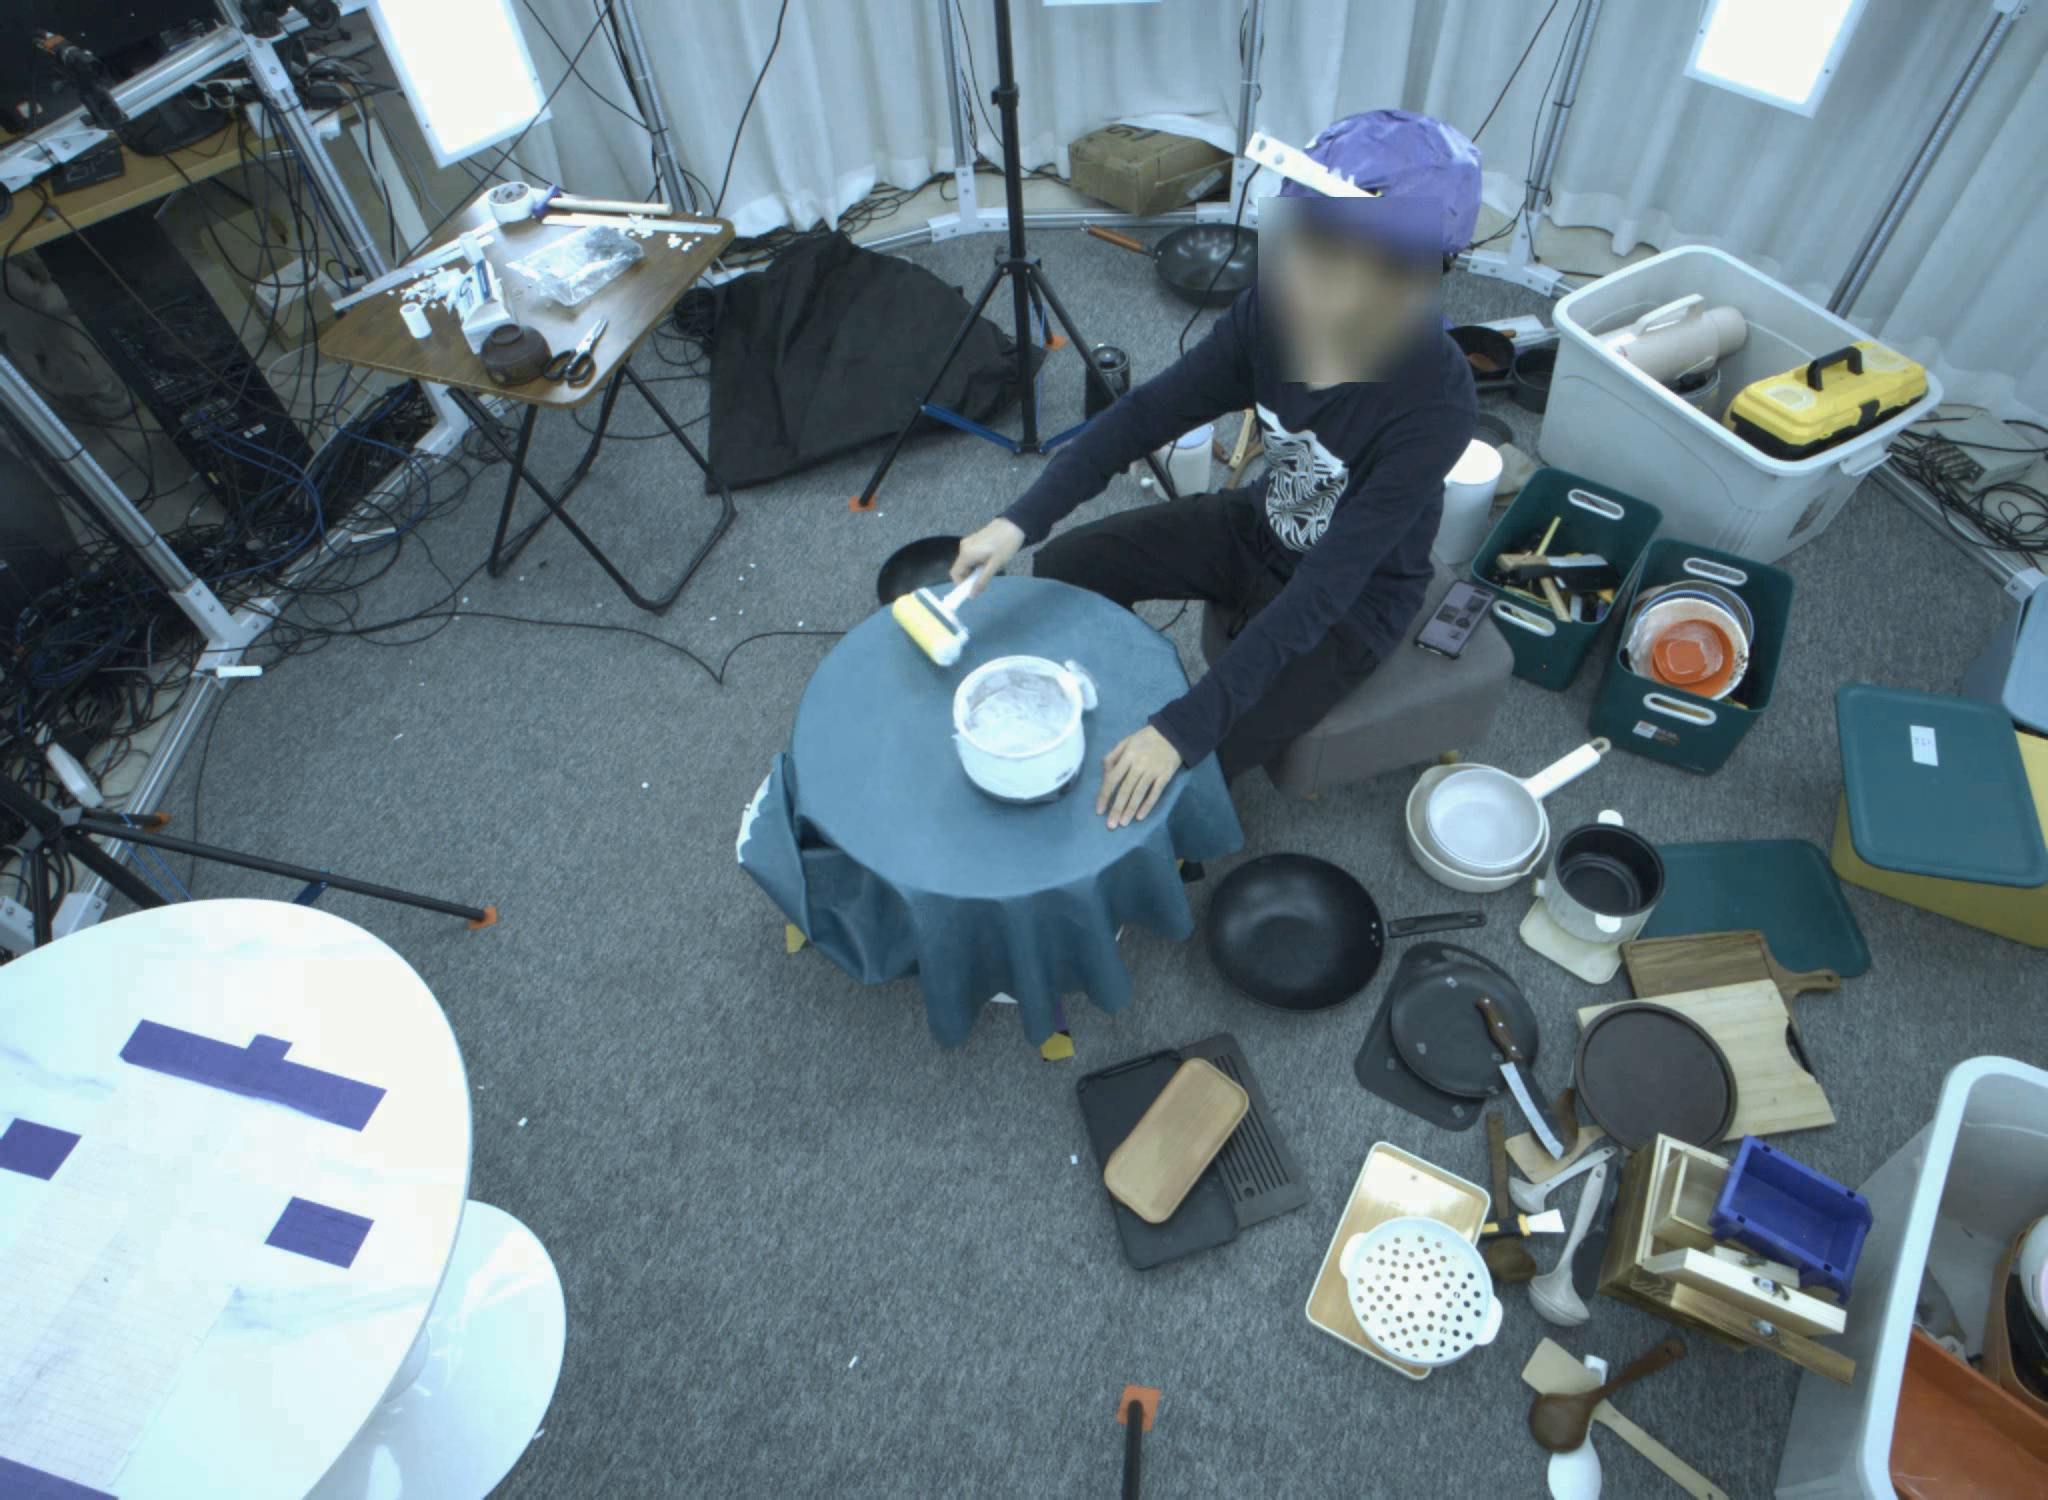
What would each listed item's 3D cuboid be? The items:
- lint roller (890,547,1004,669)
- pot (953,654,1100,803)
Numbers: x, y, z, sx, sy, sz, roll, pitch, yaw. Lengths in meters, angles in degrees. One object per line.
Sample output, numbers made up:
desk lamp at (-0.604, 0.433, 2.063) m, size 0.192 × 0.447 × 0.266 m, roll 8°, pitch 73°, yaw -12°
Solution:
lint roller at (-0.104, -0.237, 1.861) m, size 0.192 × 0.052 × 0.170 m, roll -53°, pitch 47°, yaw 7°
pot at (0.015, -0.042, 1.737) m, size 0.175 × 0.138 × 0.235 m, roll 39°, pitch 65°, yaw 24°
